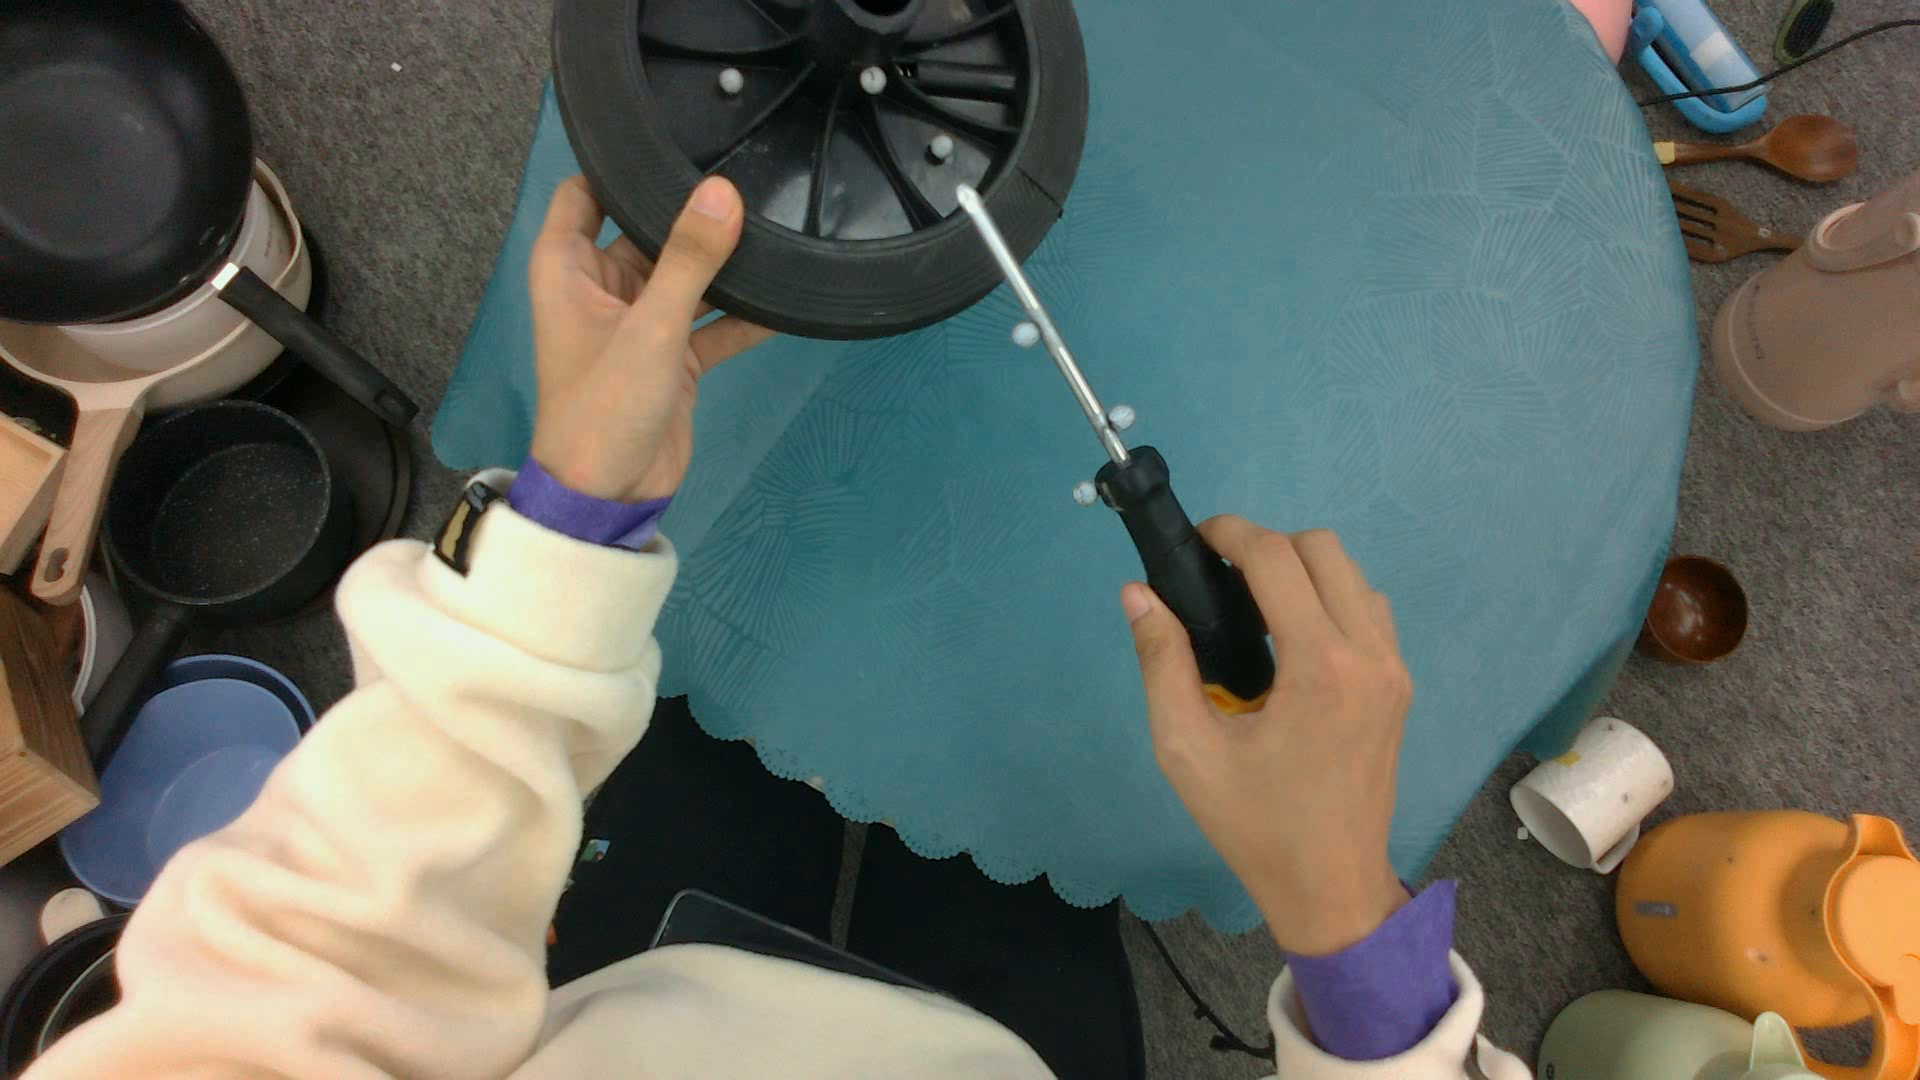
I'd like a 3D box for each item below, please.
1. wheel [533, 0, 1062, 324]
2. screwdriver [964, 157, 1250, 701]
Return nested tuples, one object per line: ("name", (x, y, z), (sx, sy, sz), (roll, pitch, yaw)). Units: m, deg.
("wheel", (-0.044, -0.173, 0.467), (0.190, 0.079, 0.187), (-27, 93, -23))
("screwdriver", (0.044, -0.030, 0.438), (0.031, 0.031, 0.196), (-34, 108, -11))
